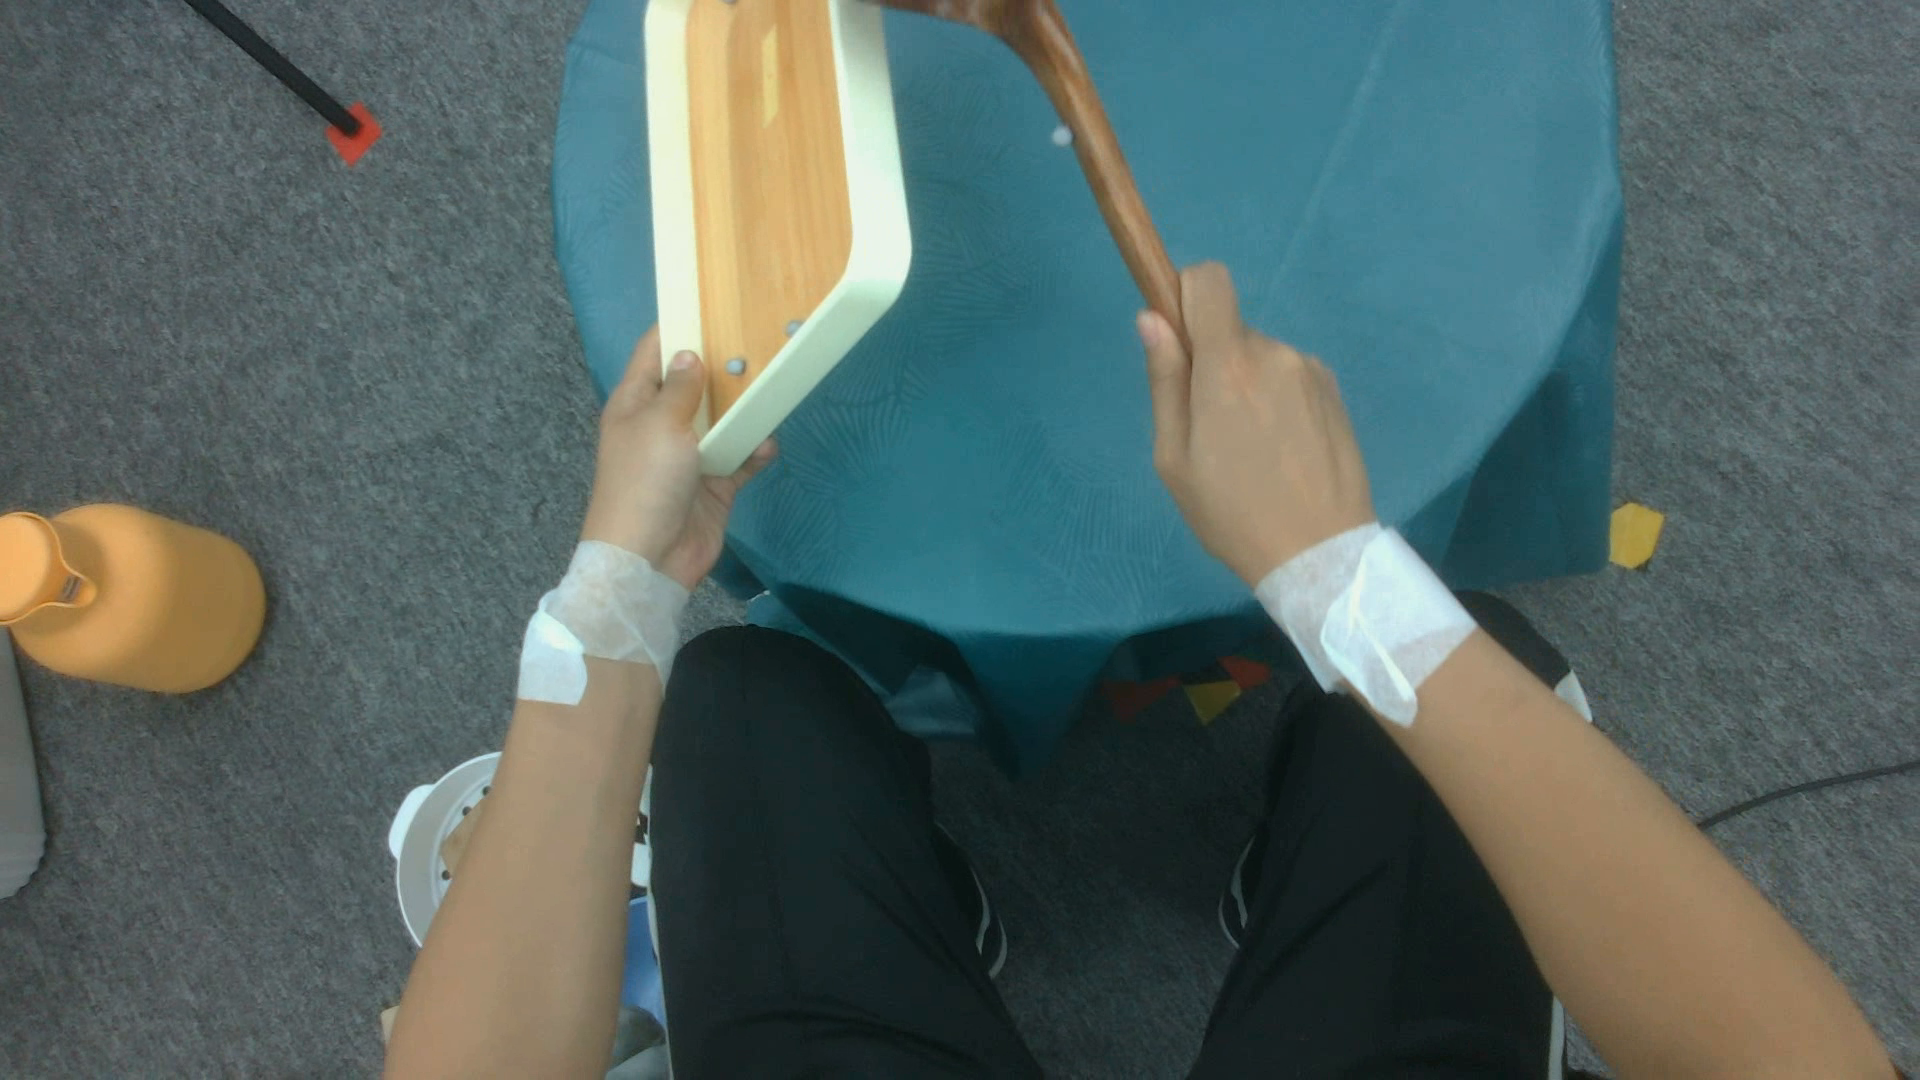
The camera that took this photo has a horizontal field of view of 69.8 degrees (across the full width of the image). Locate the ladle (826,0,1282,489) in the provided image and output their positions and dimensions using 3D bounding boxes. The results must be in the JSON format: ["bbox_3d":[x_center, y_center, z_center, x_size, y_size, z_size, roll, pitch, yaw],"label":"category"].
[{"bbox_3d":[0.041,-0.122,0.572,0.076,0.082,0.274,-32,102,-4],"label":"ladle"}]

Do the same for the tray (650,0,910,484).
[{"bbox_3d":[-0.097,-0.196,0.664,0.027,0.190,0.301,8,62,-33],"label":"tray"}]
